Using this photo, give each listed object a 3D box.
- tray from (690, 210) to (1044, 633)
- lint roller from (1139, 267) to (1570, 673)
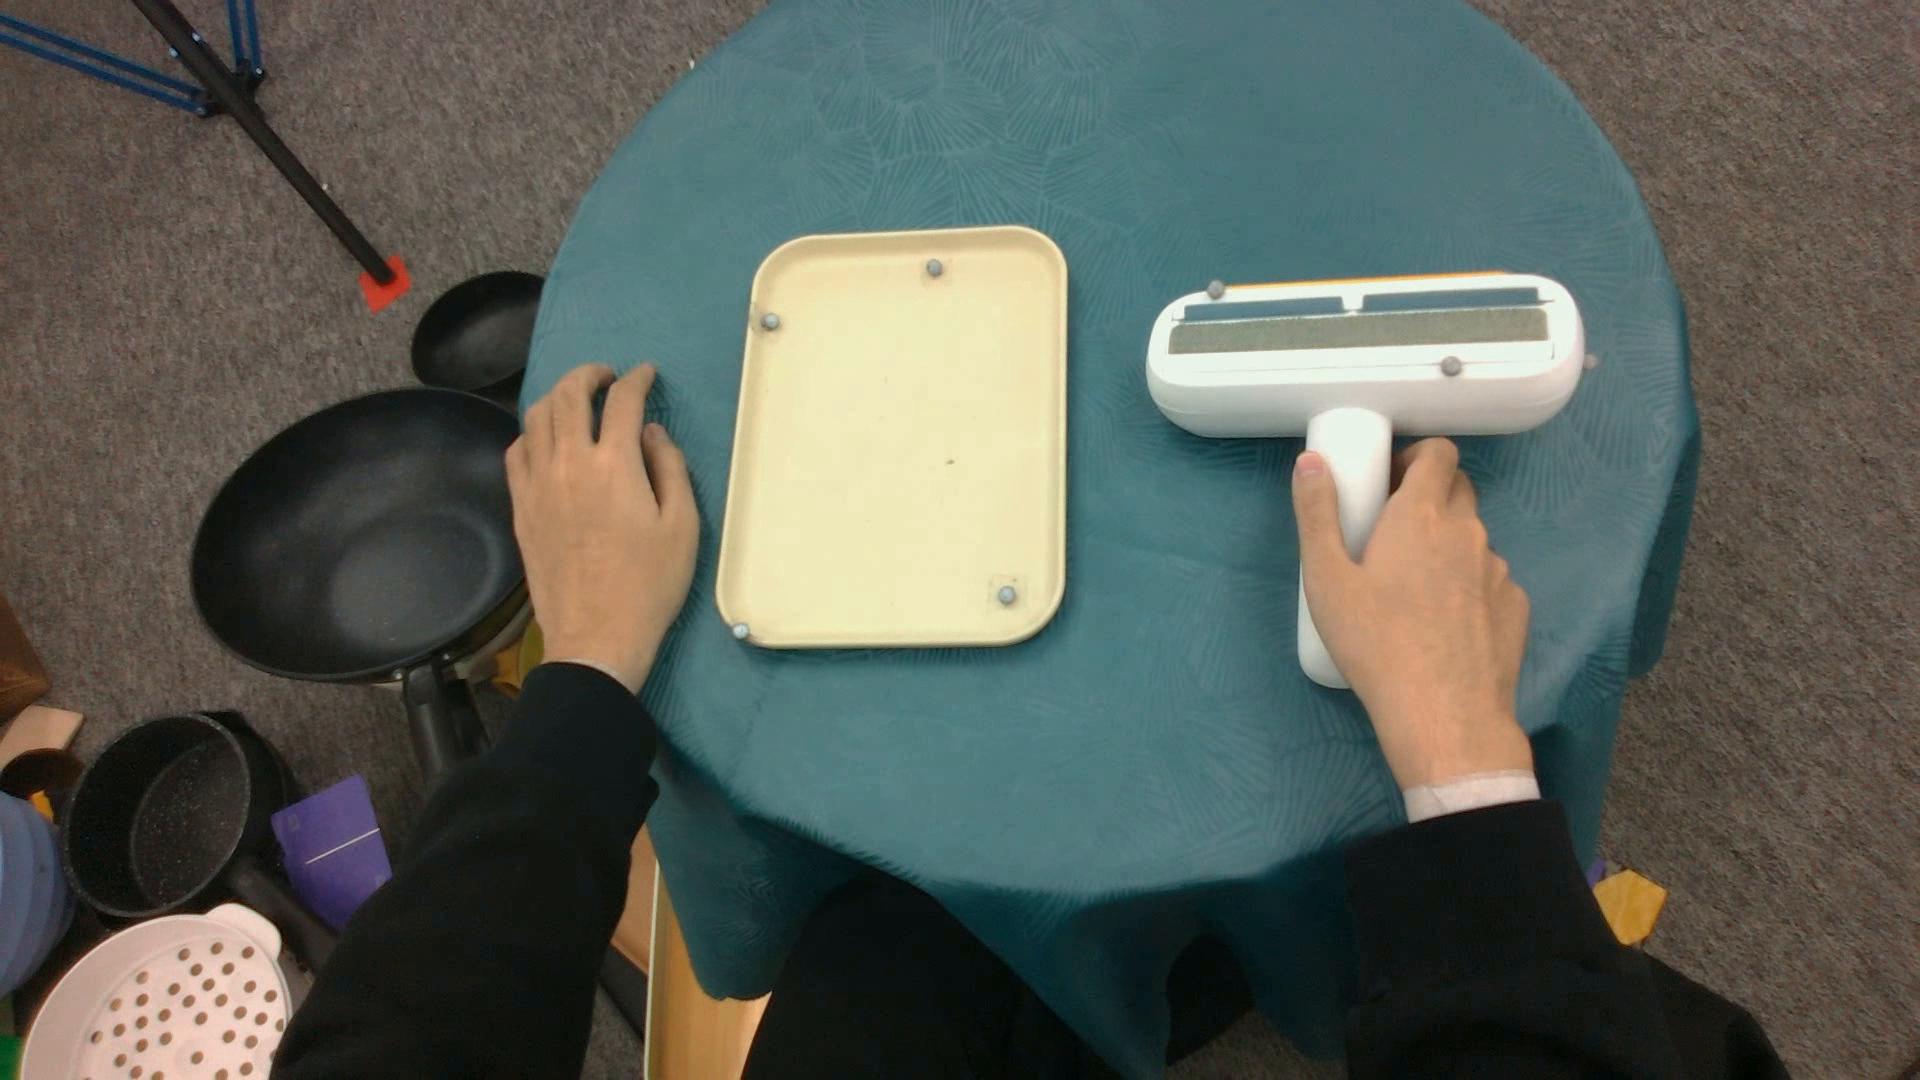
[{"bbox_3d":[-0.042,-0.064,0.696,0.171,0.017,0.240,0,65,6],"label":"tray"},{"bbox_3d":[0.169,-0.036,0.631,0.192,0.074,0.193,7,68,18],"label":"lint roller"}]
